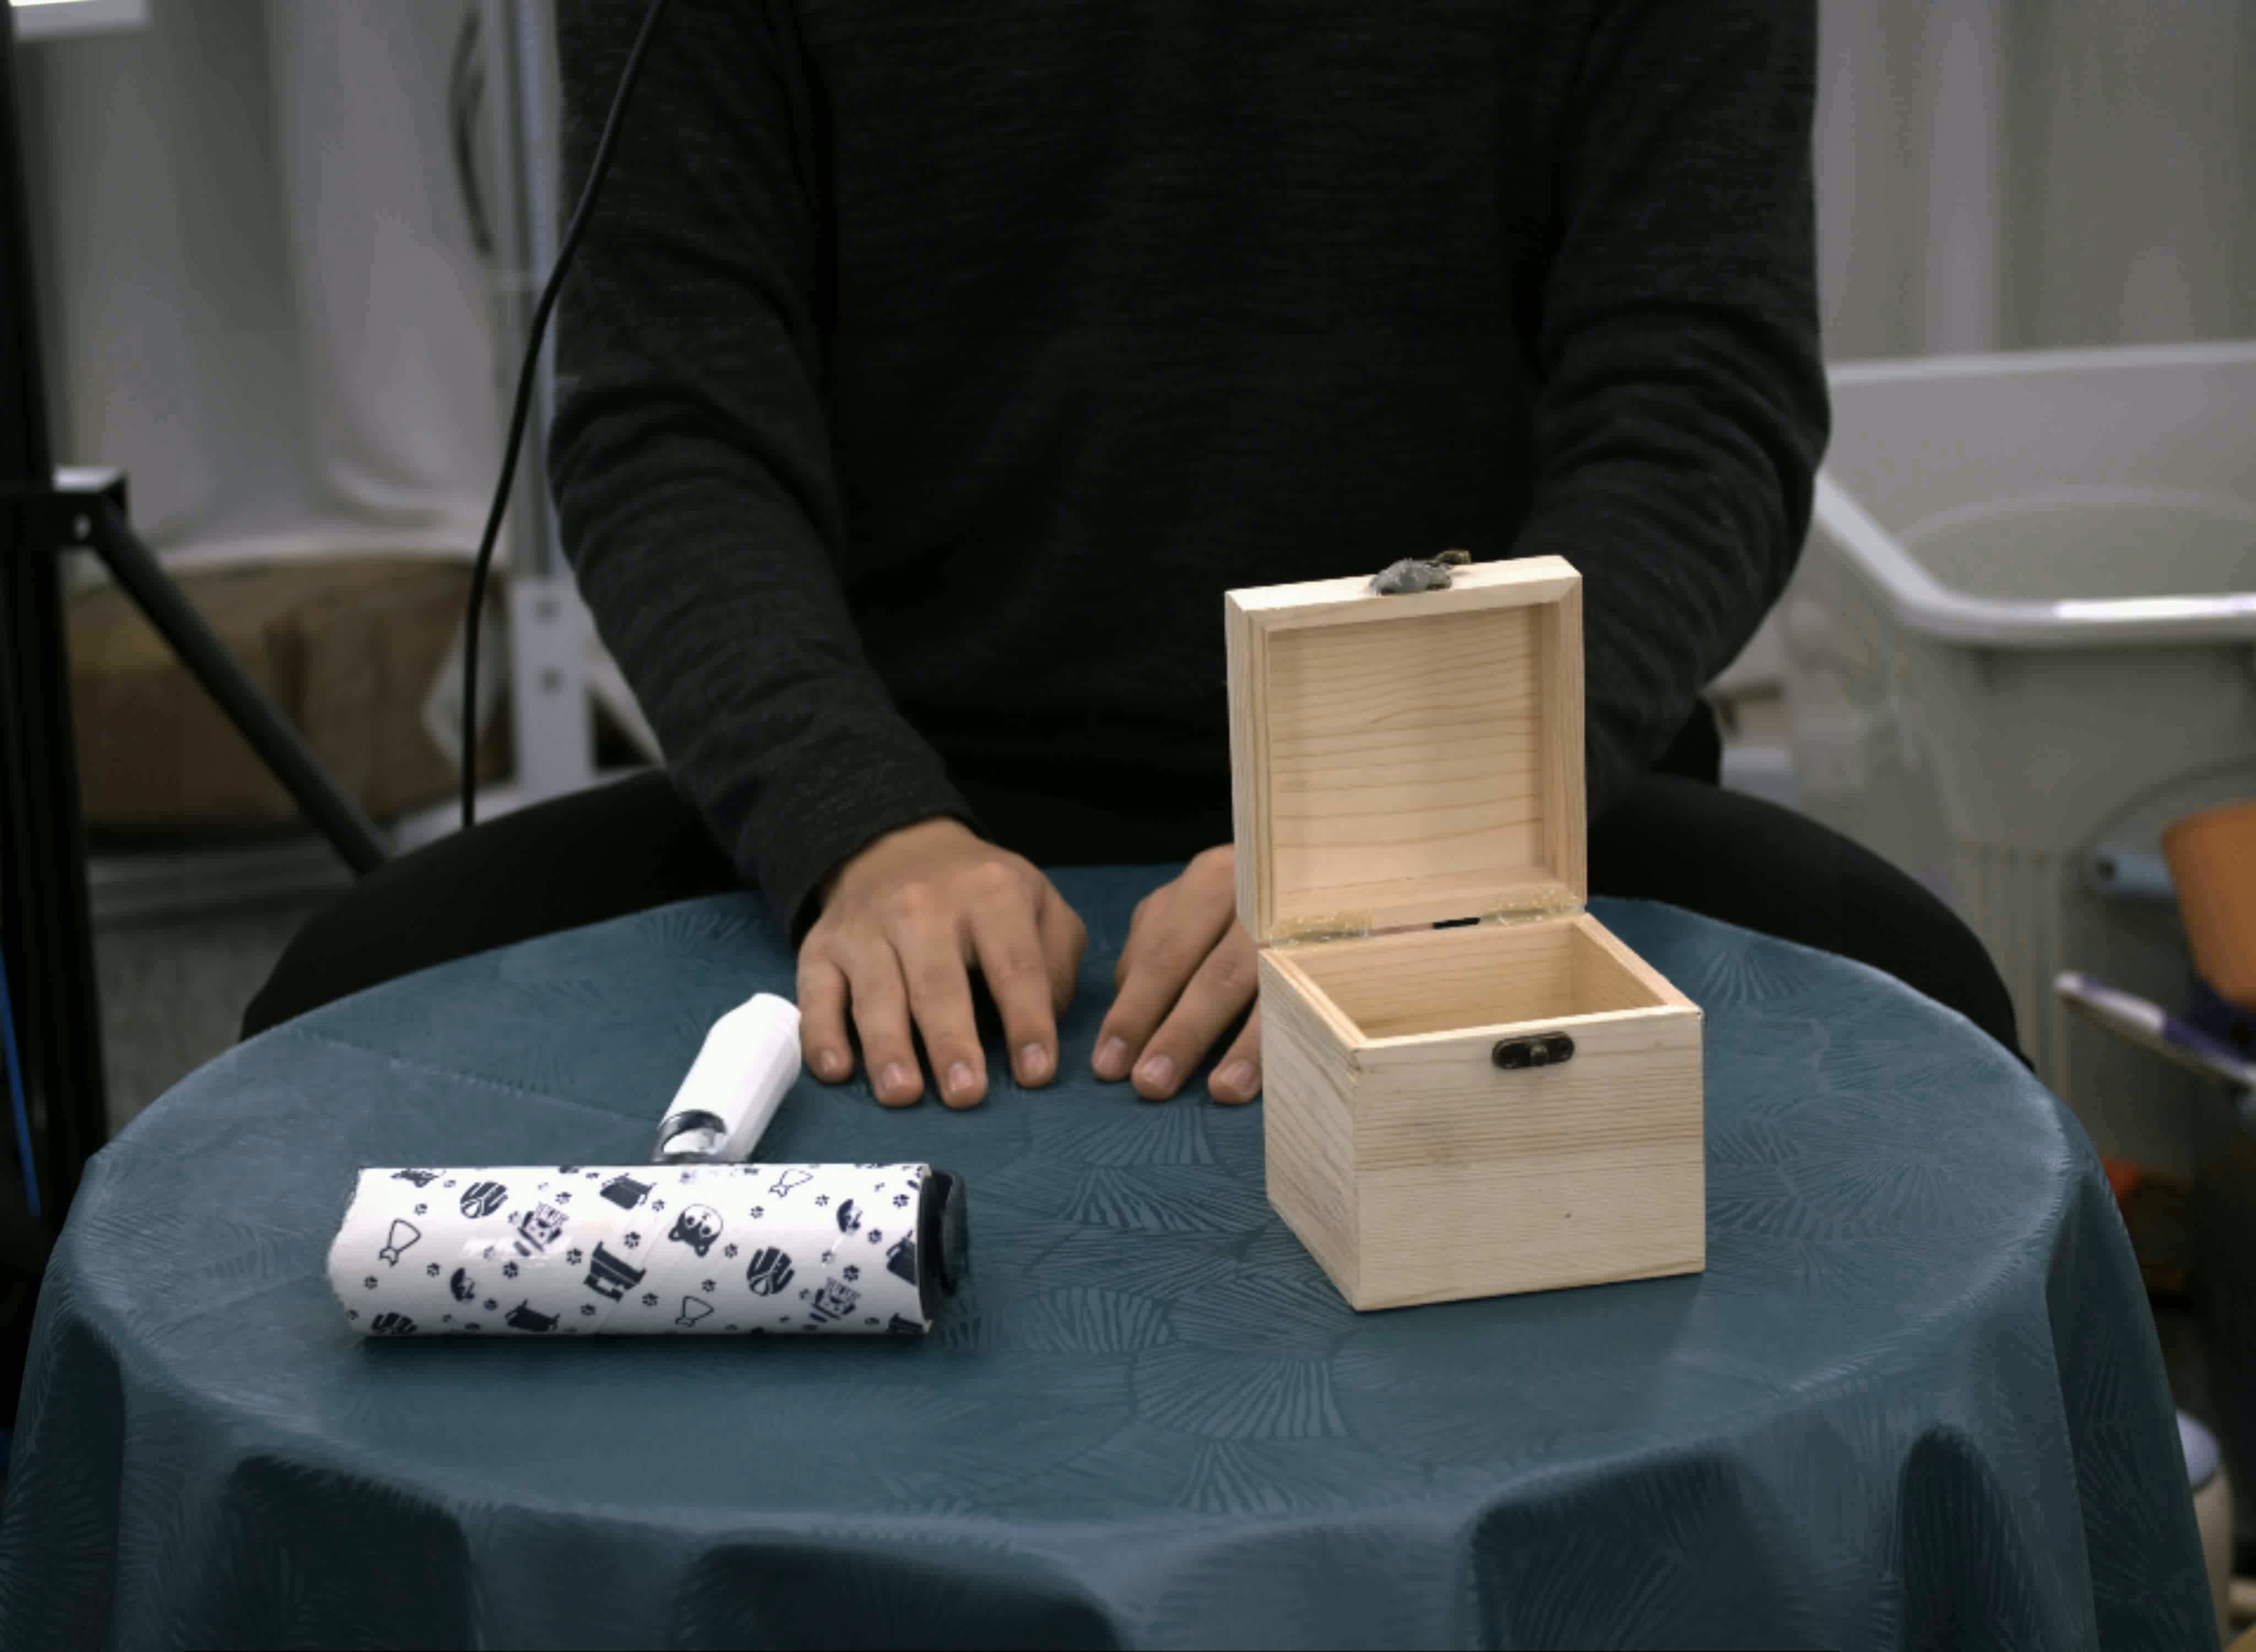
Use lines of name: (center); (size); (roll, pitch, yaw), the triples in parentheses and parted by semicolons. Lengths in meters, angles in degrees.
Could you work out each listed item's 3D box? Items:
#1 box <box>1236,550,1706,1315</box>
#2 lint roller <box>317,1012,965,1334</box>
box: (0.096, 0.027, 1.491); (0.101, 0.184, 0.135); (-5, 15, -11)
lint roller: (-0.126, 0.091, 1.562); (0.176, 0.050, 0.247); (-2, 15, 6)
